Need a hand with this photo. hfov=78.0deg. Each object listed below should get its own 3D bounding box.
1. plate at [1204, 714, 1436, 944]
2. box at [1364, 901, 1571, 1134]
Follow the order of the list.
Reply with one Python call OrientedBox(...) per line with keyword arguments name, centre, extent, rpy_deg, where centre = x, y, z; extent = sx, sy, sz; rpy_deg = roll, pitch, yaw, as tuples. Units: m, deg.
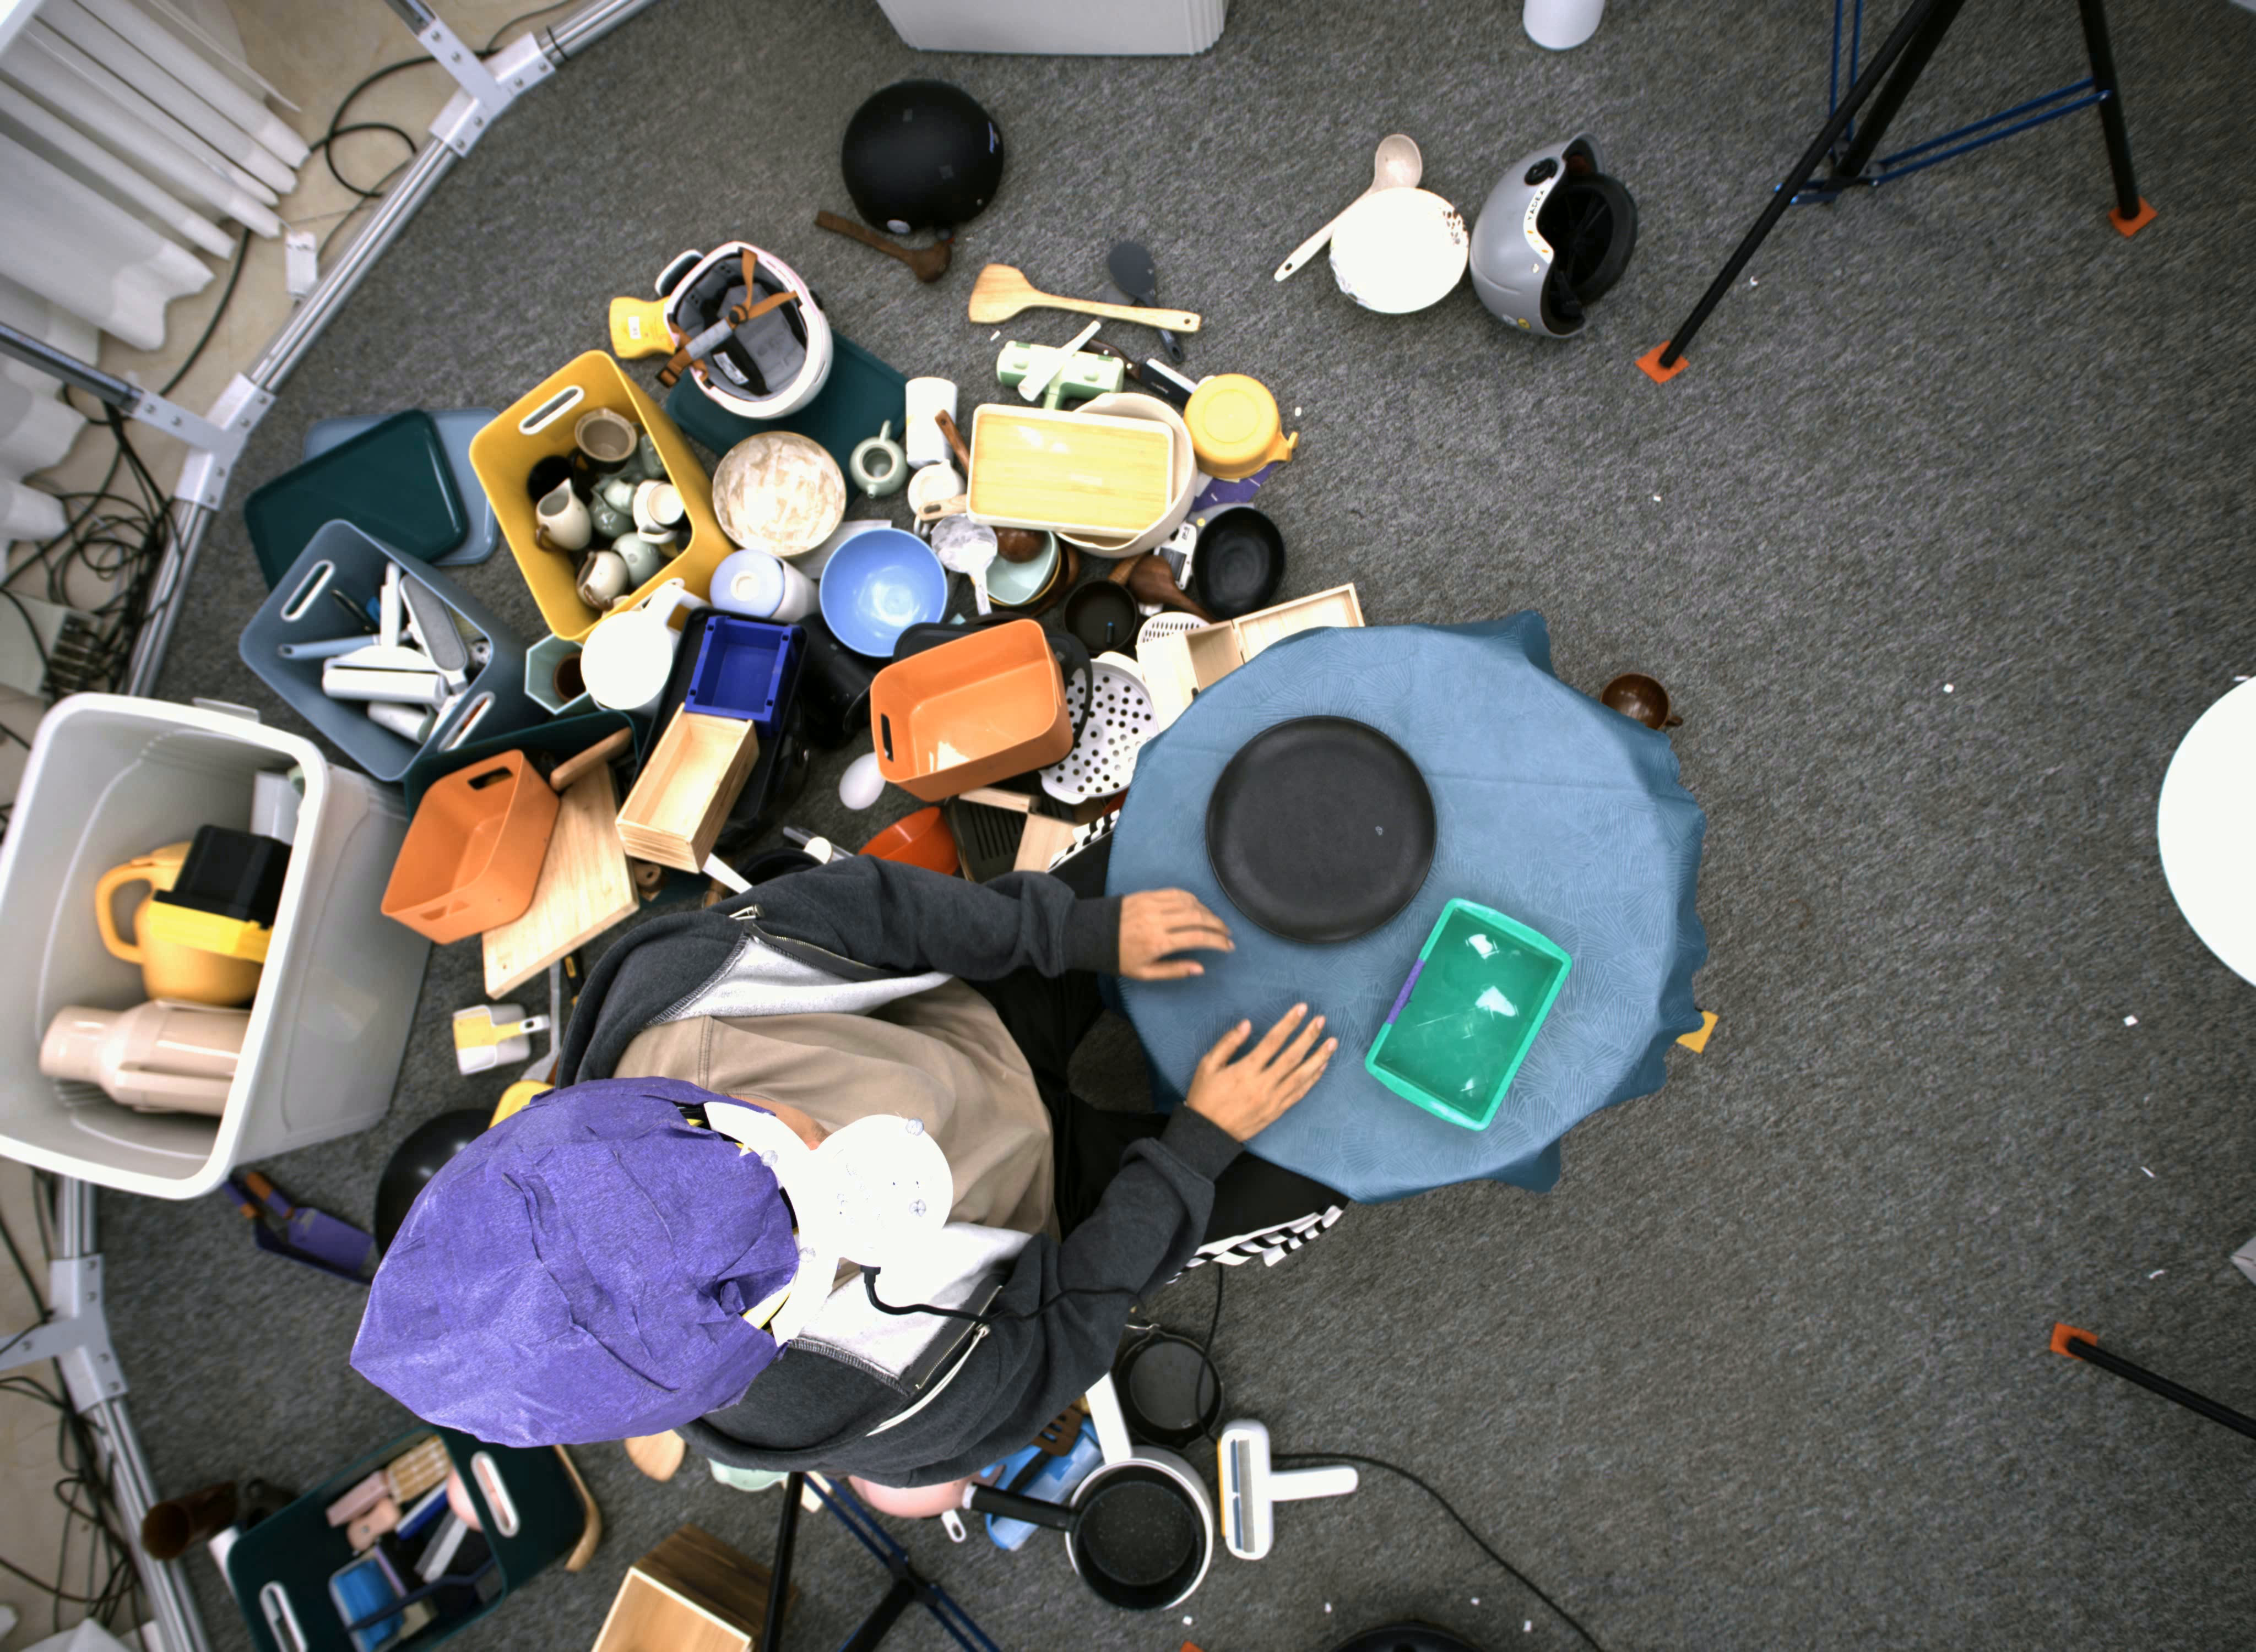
OrientedBox(name="plate", centre=(0.202, 0.003, 1.464), extent=(0.245, 0.023, 0.243), rpy_deg=(-1, 87, 10))
OrientedBox(name="box", centre=(0.344, 0.192, 1.407), extent=(0.138, 0.065, 0.211), rpy_deg=(27, 94, 13))
